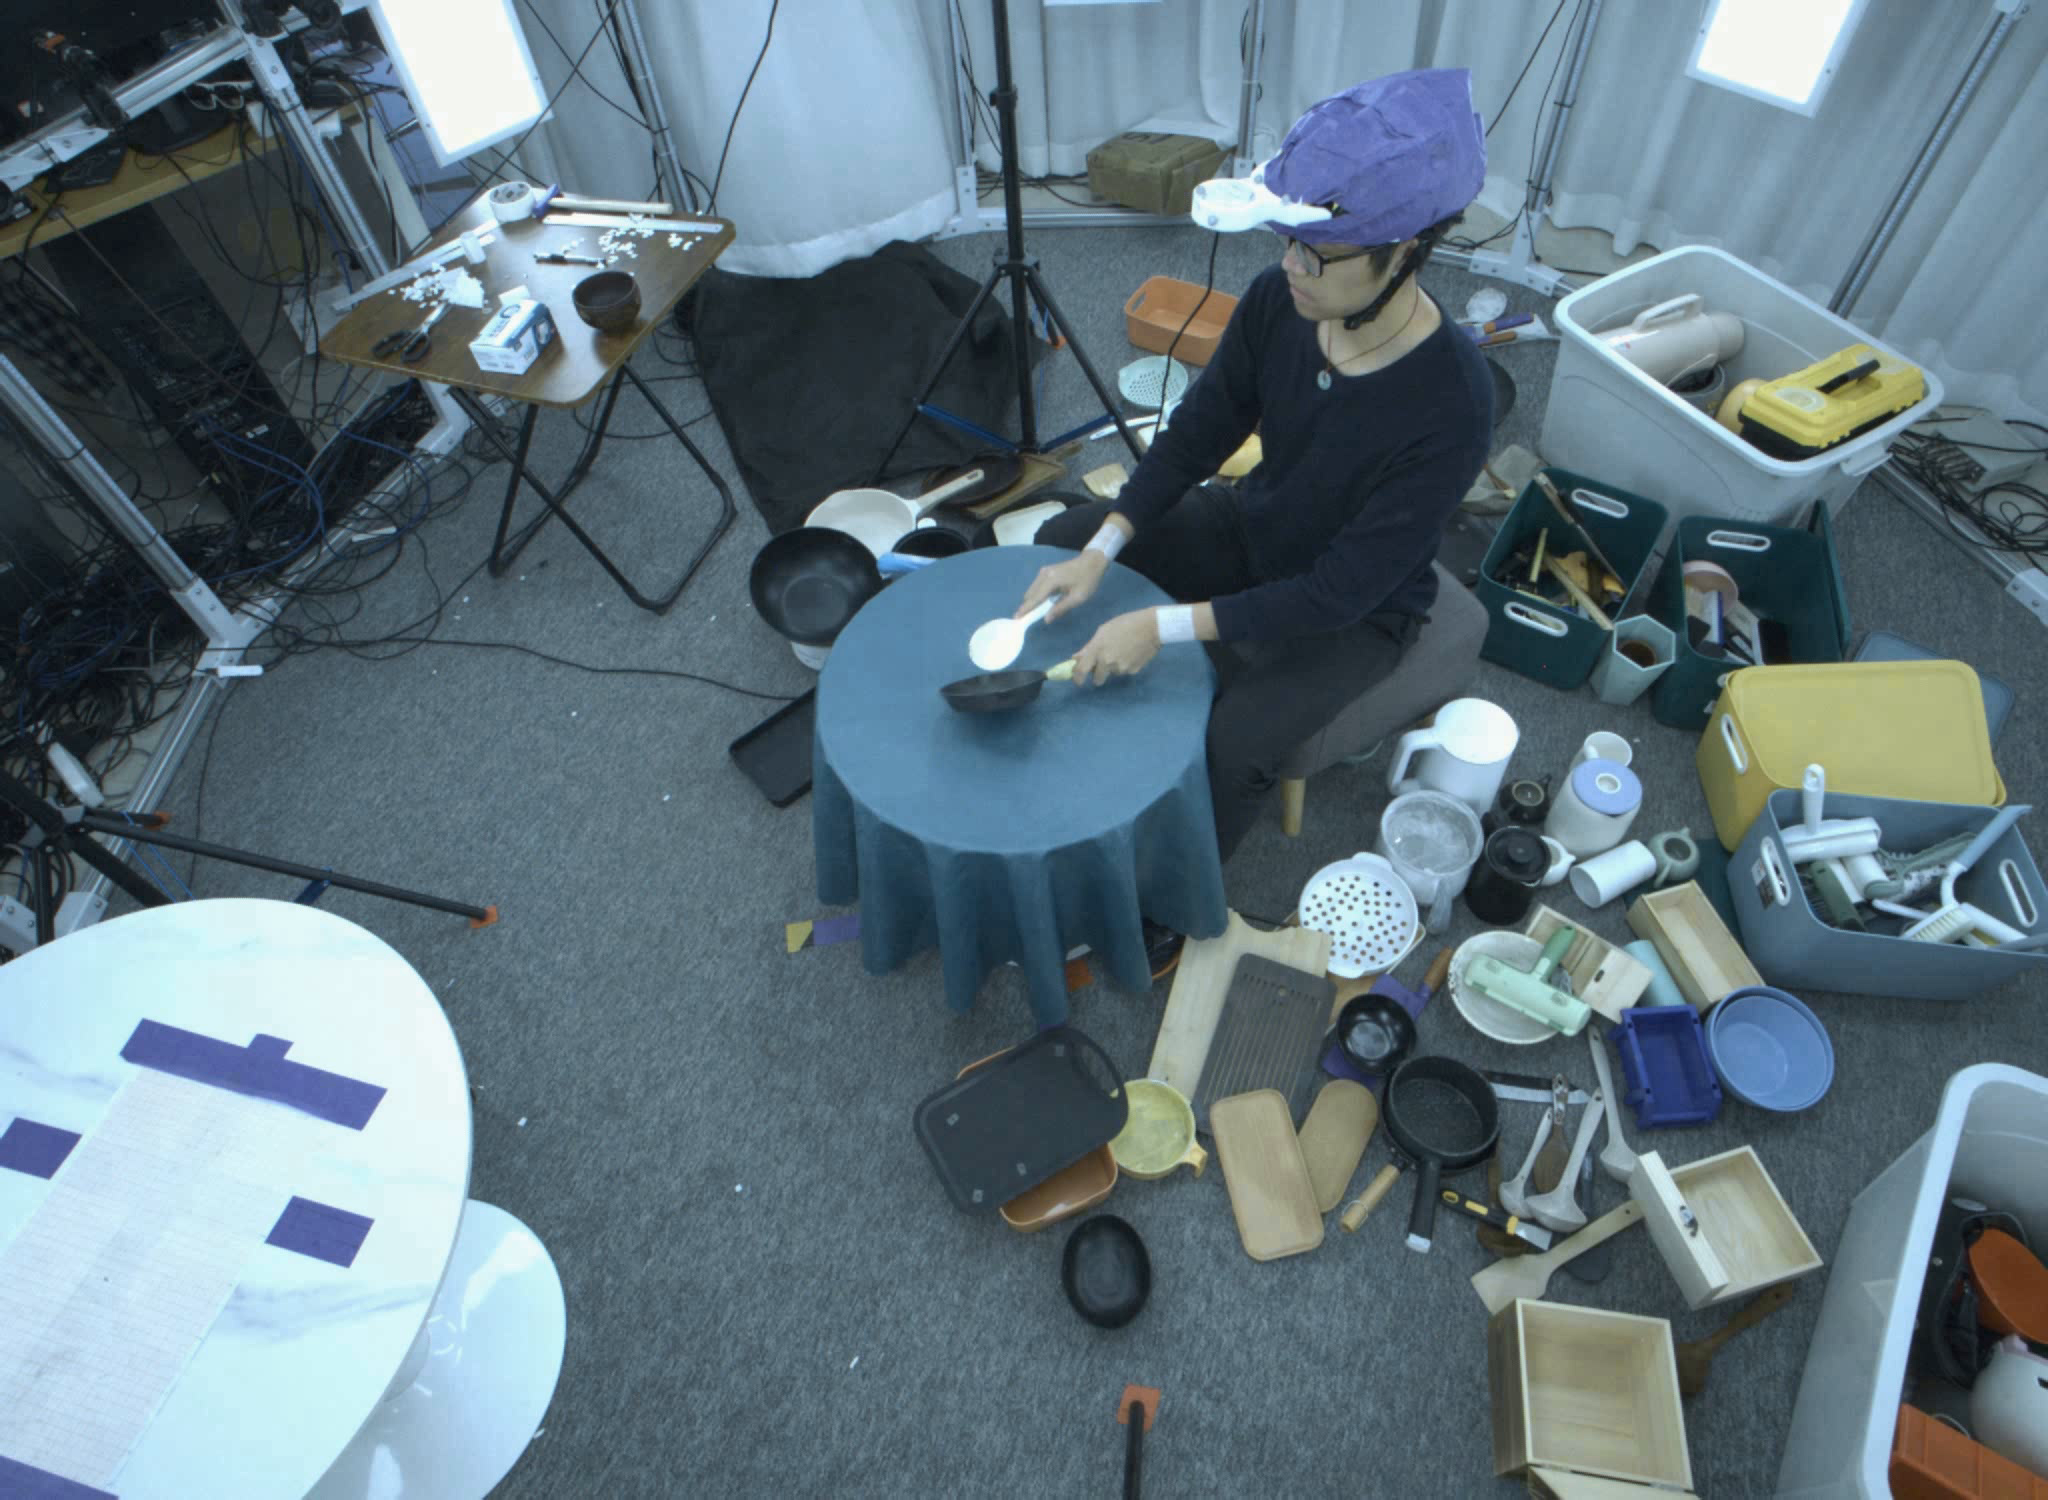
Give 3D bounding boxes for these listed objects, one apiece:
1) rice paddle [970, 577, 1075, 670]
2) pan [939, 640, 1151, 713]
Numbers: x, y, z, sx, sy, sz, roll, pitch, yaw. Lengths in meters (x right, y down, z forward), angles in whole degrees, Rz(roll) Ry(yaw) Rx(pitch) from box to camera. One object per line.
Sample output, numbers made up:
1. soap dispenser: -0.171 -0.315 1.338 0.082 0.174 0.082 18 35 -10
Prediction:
1. rice paddle: -0.002 -0.192 1.845 0.206 0.029 0.069 -42 93 -24
2. pan: 0.036 -0.108 1.799 0.326 0.050 0.166 -13 14 -11
